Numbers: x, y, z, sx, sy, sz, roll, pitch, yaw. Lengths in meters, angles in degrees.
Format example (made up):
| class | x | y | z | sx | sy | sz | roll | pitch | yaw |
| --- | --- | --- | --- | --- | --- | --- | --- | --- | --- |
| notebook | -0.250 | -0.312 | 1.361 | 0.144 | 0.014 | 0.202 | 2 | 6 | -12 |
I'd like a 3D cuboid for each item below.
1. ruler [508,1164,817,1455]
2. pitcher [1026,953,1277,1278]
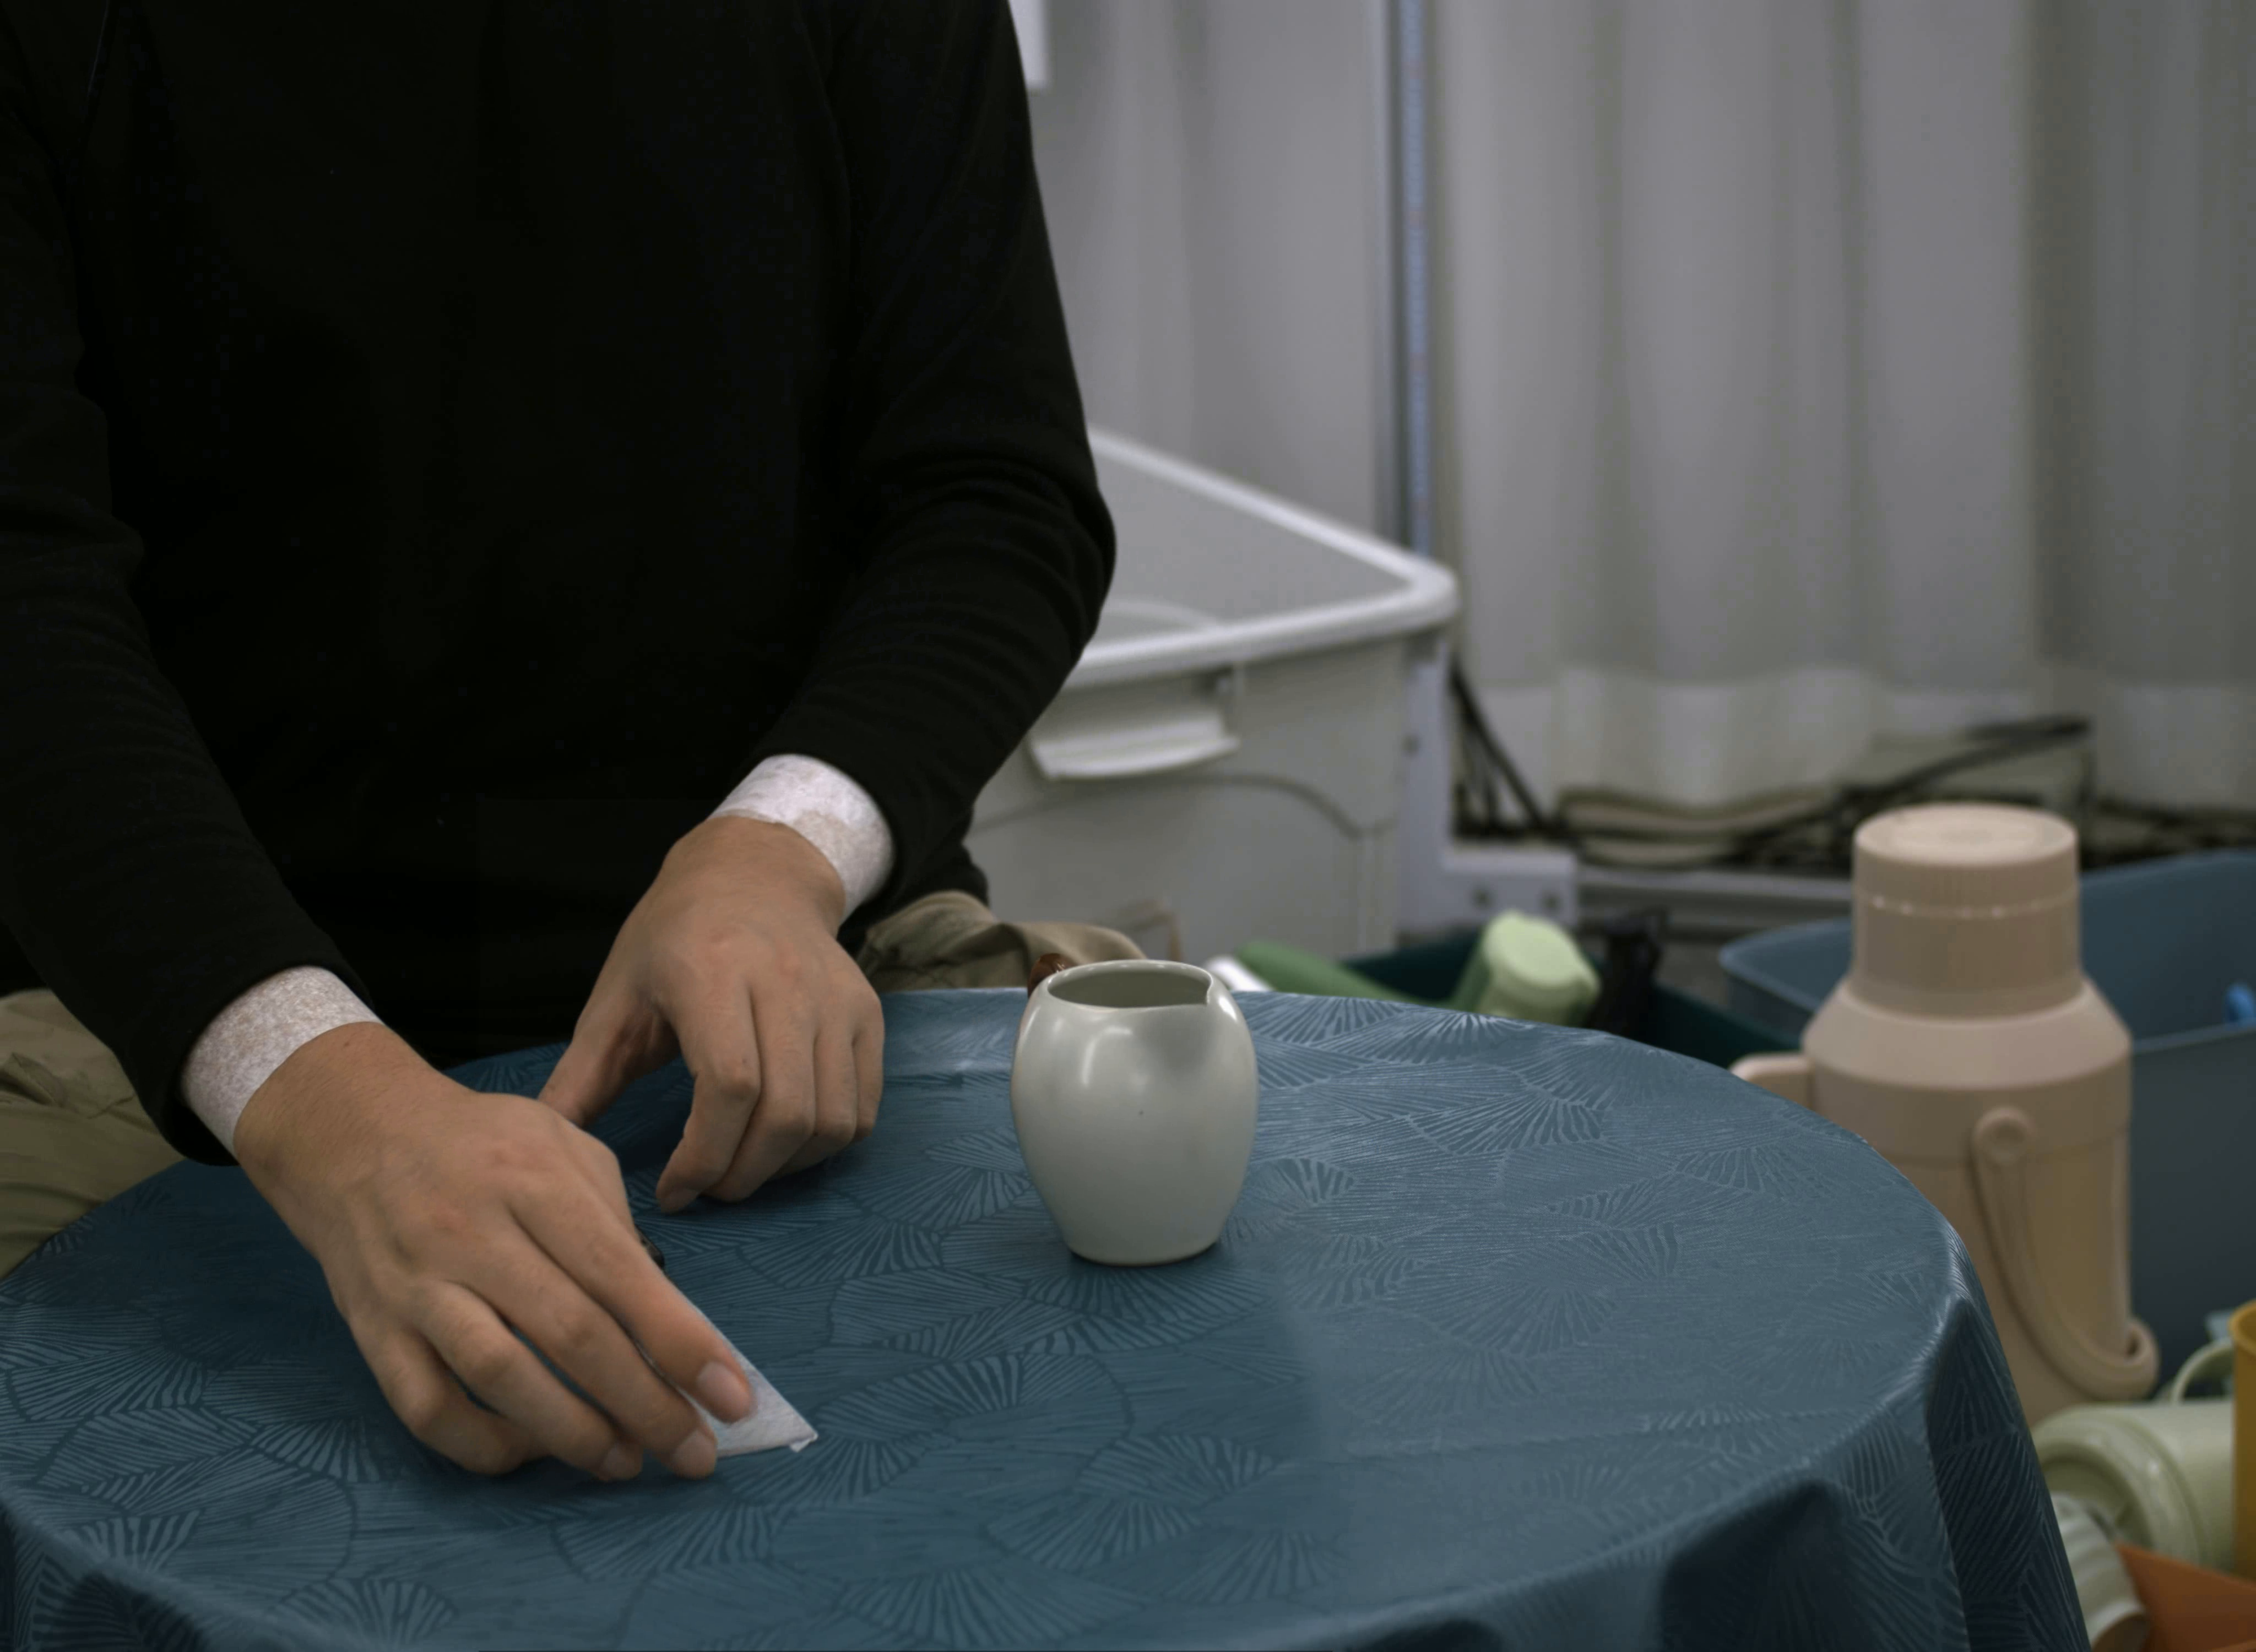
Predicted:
| class | x | y | z | sx | sy | sz | roll | pitch | yaw |
| --- | --- | --- | --- | --- | --- | --- | --- | --- | --- |
| ruler | -0.142 | 0.139 | 1.606 | 0.038 | 0.024 | 0.220 | -15 | 16 | -17 |
| pitcher | 0.004 | 0.086 | 1.654 | 0.075 | 0.087 | 0.120 | -5 | 15 | -22 |
